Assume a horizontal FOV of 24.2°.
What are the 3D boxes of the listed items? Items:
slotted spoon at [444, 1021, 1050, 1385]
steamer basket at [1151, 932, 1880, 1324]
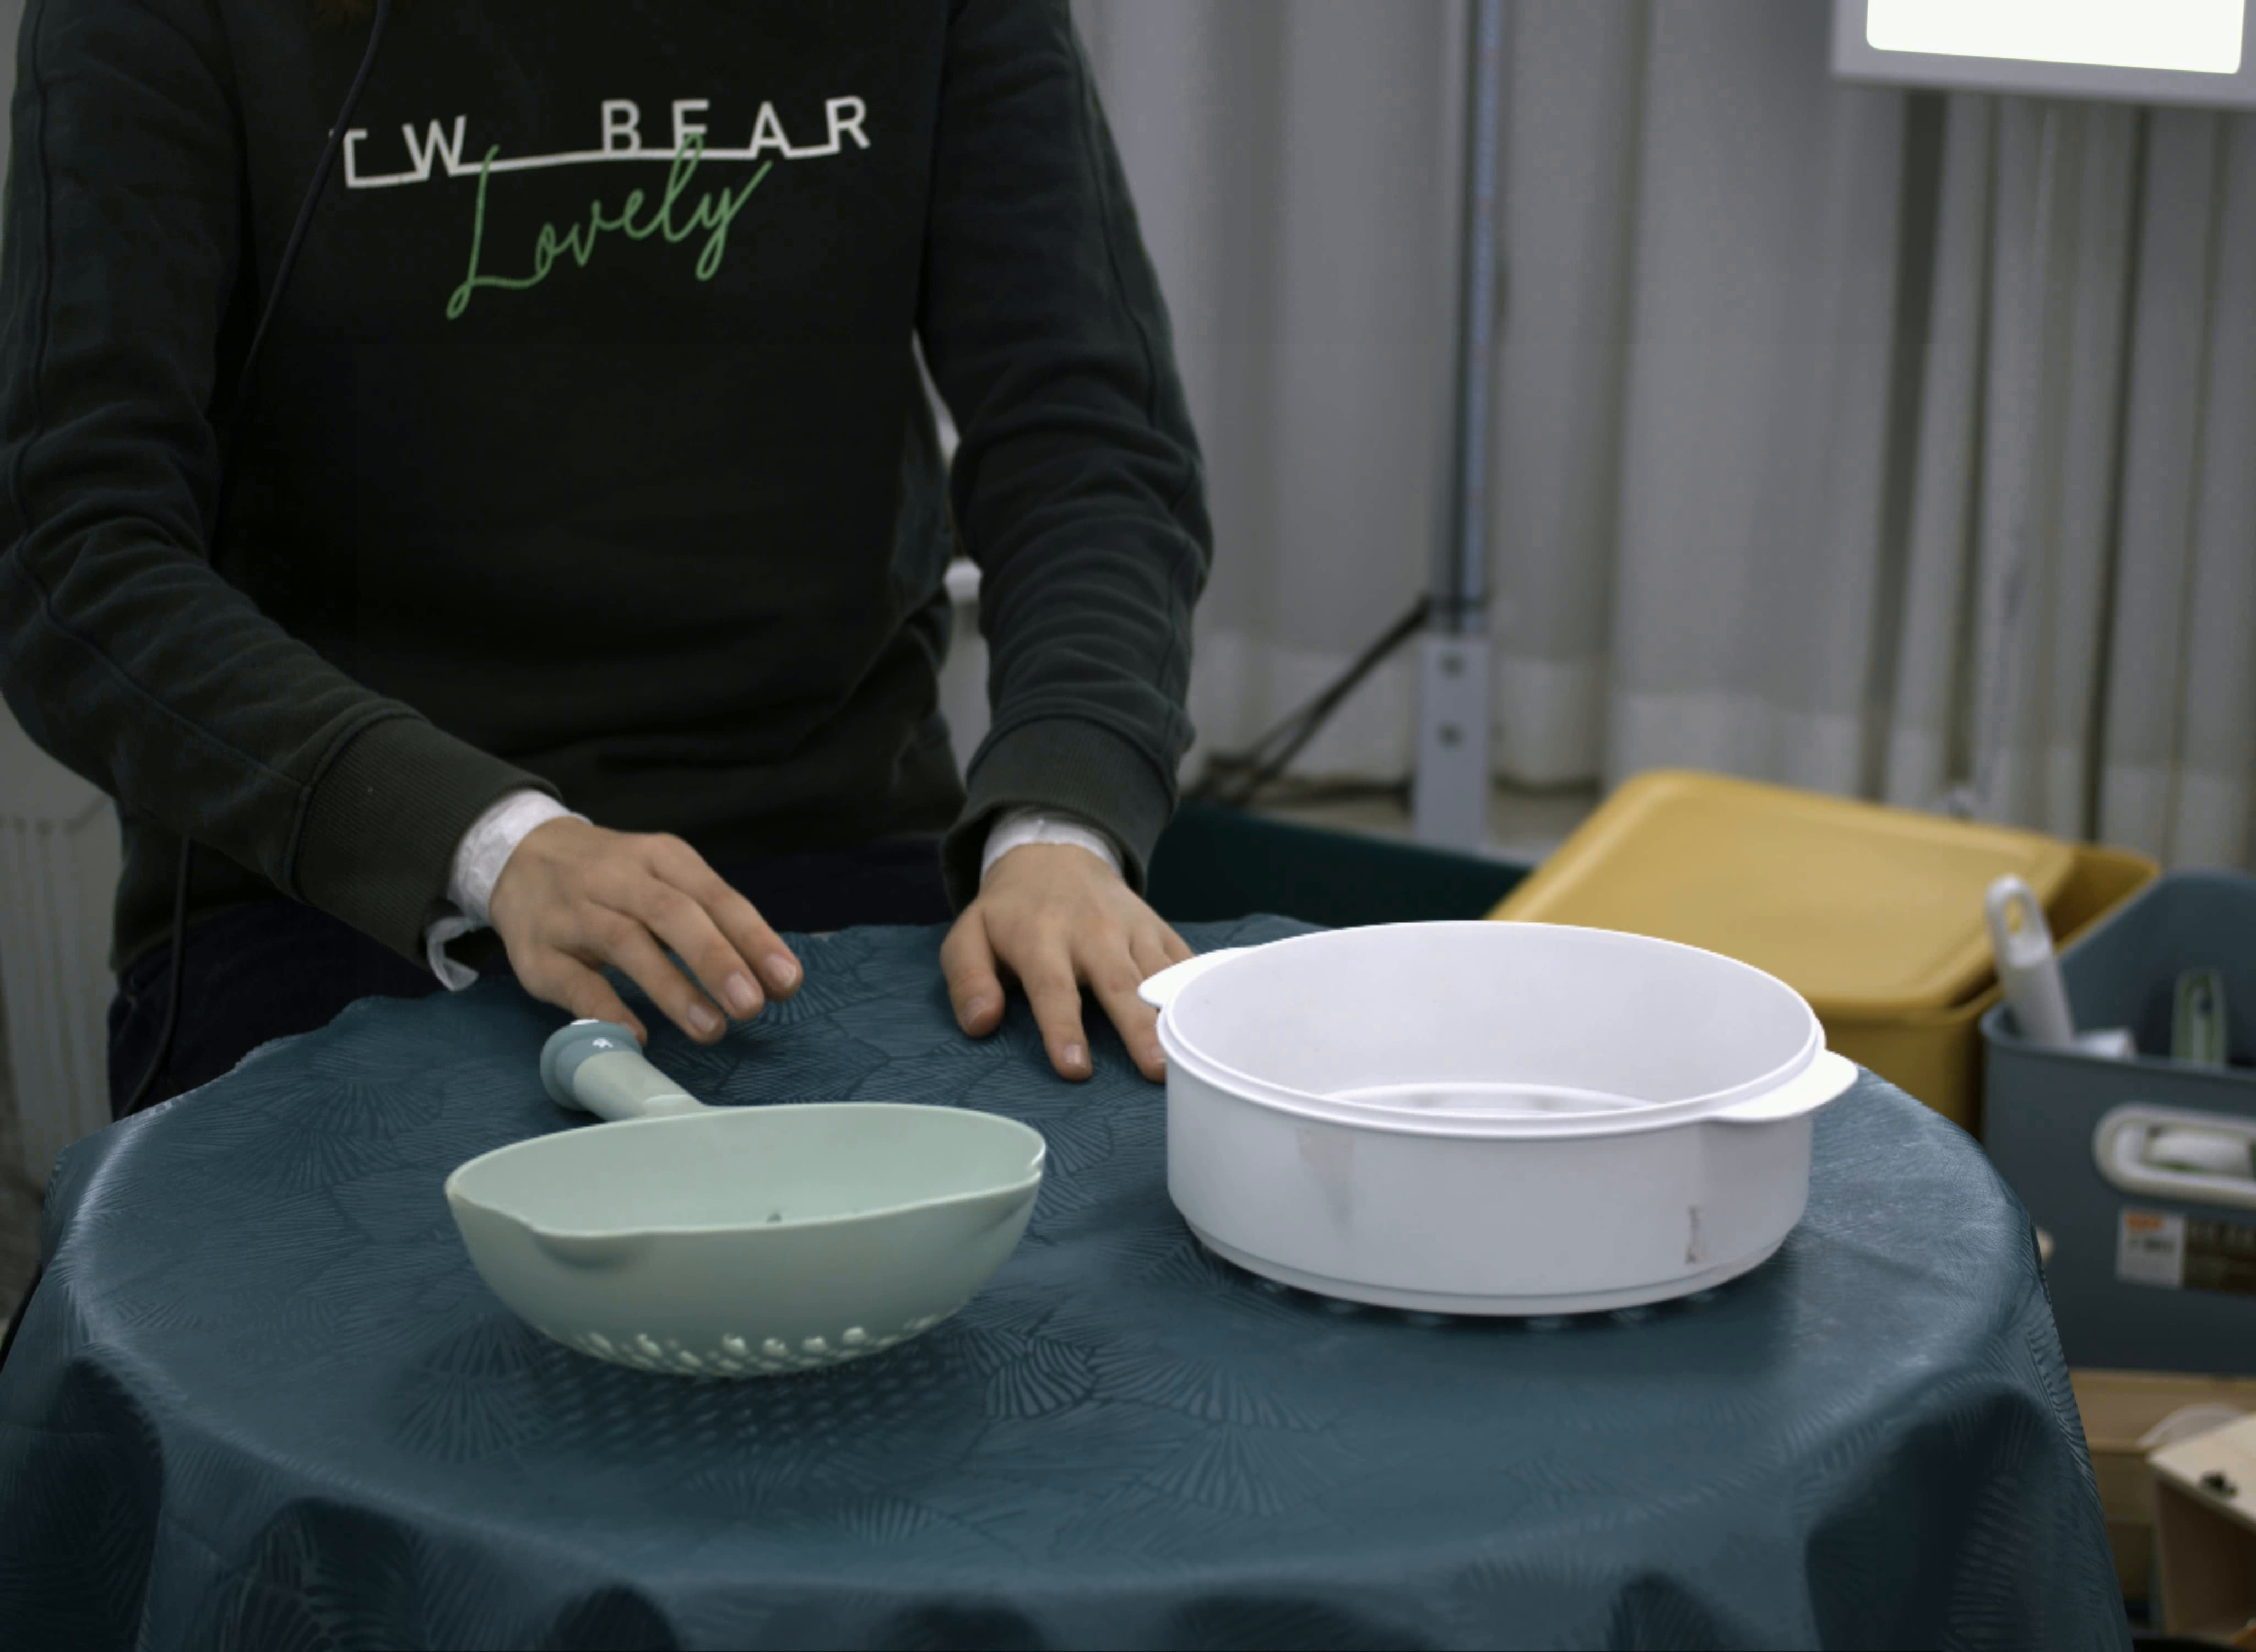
[{"bbox_3d":[-0.132,0.095,1.564,0.169,0.076,0.355,-5,17,-16],"label":"slotted spoon"},{"bbox_3d":[0.113,0.090,1.589,0.228,0.070,0.202,10,18,31],"label":"steamer basket"}]
